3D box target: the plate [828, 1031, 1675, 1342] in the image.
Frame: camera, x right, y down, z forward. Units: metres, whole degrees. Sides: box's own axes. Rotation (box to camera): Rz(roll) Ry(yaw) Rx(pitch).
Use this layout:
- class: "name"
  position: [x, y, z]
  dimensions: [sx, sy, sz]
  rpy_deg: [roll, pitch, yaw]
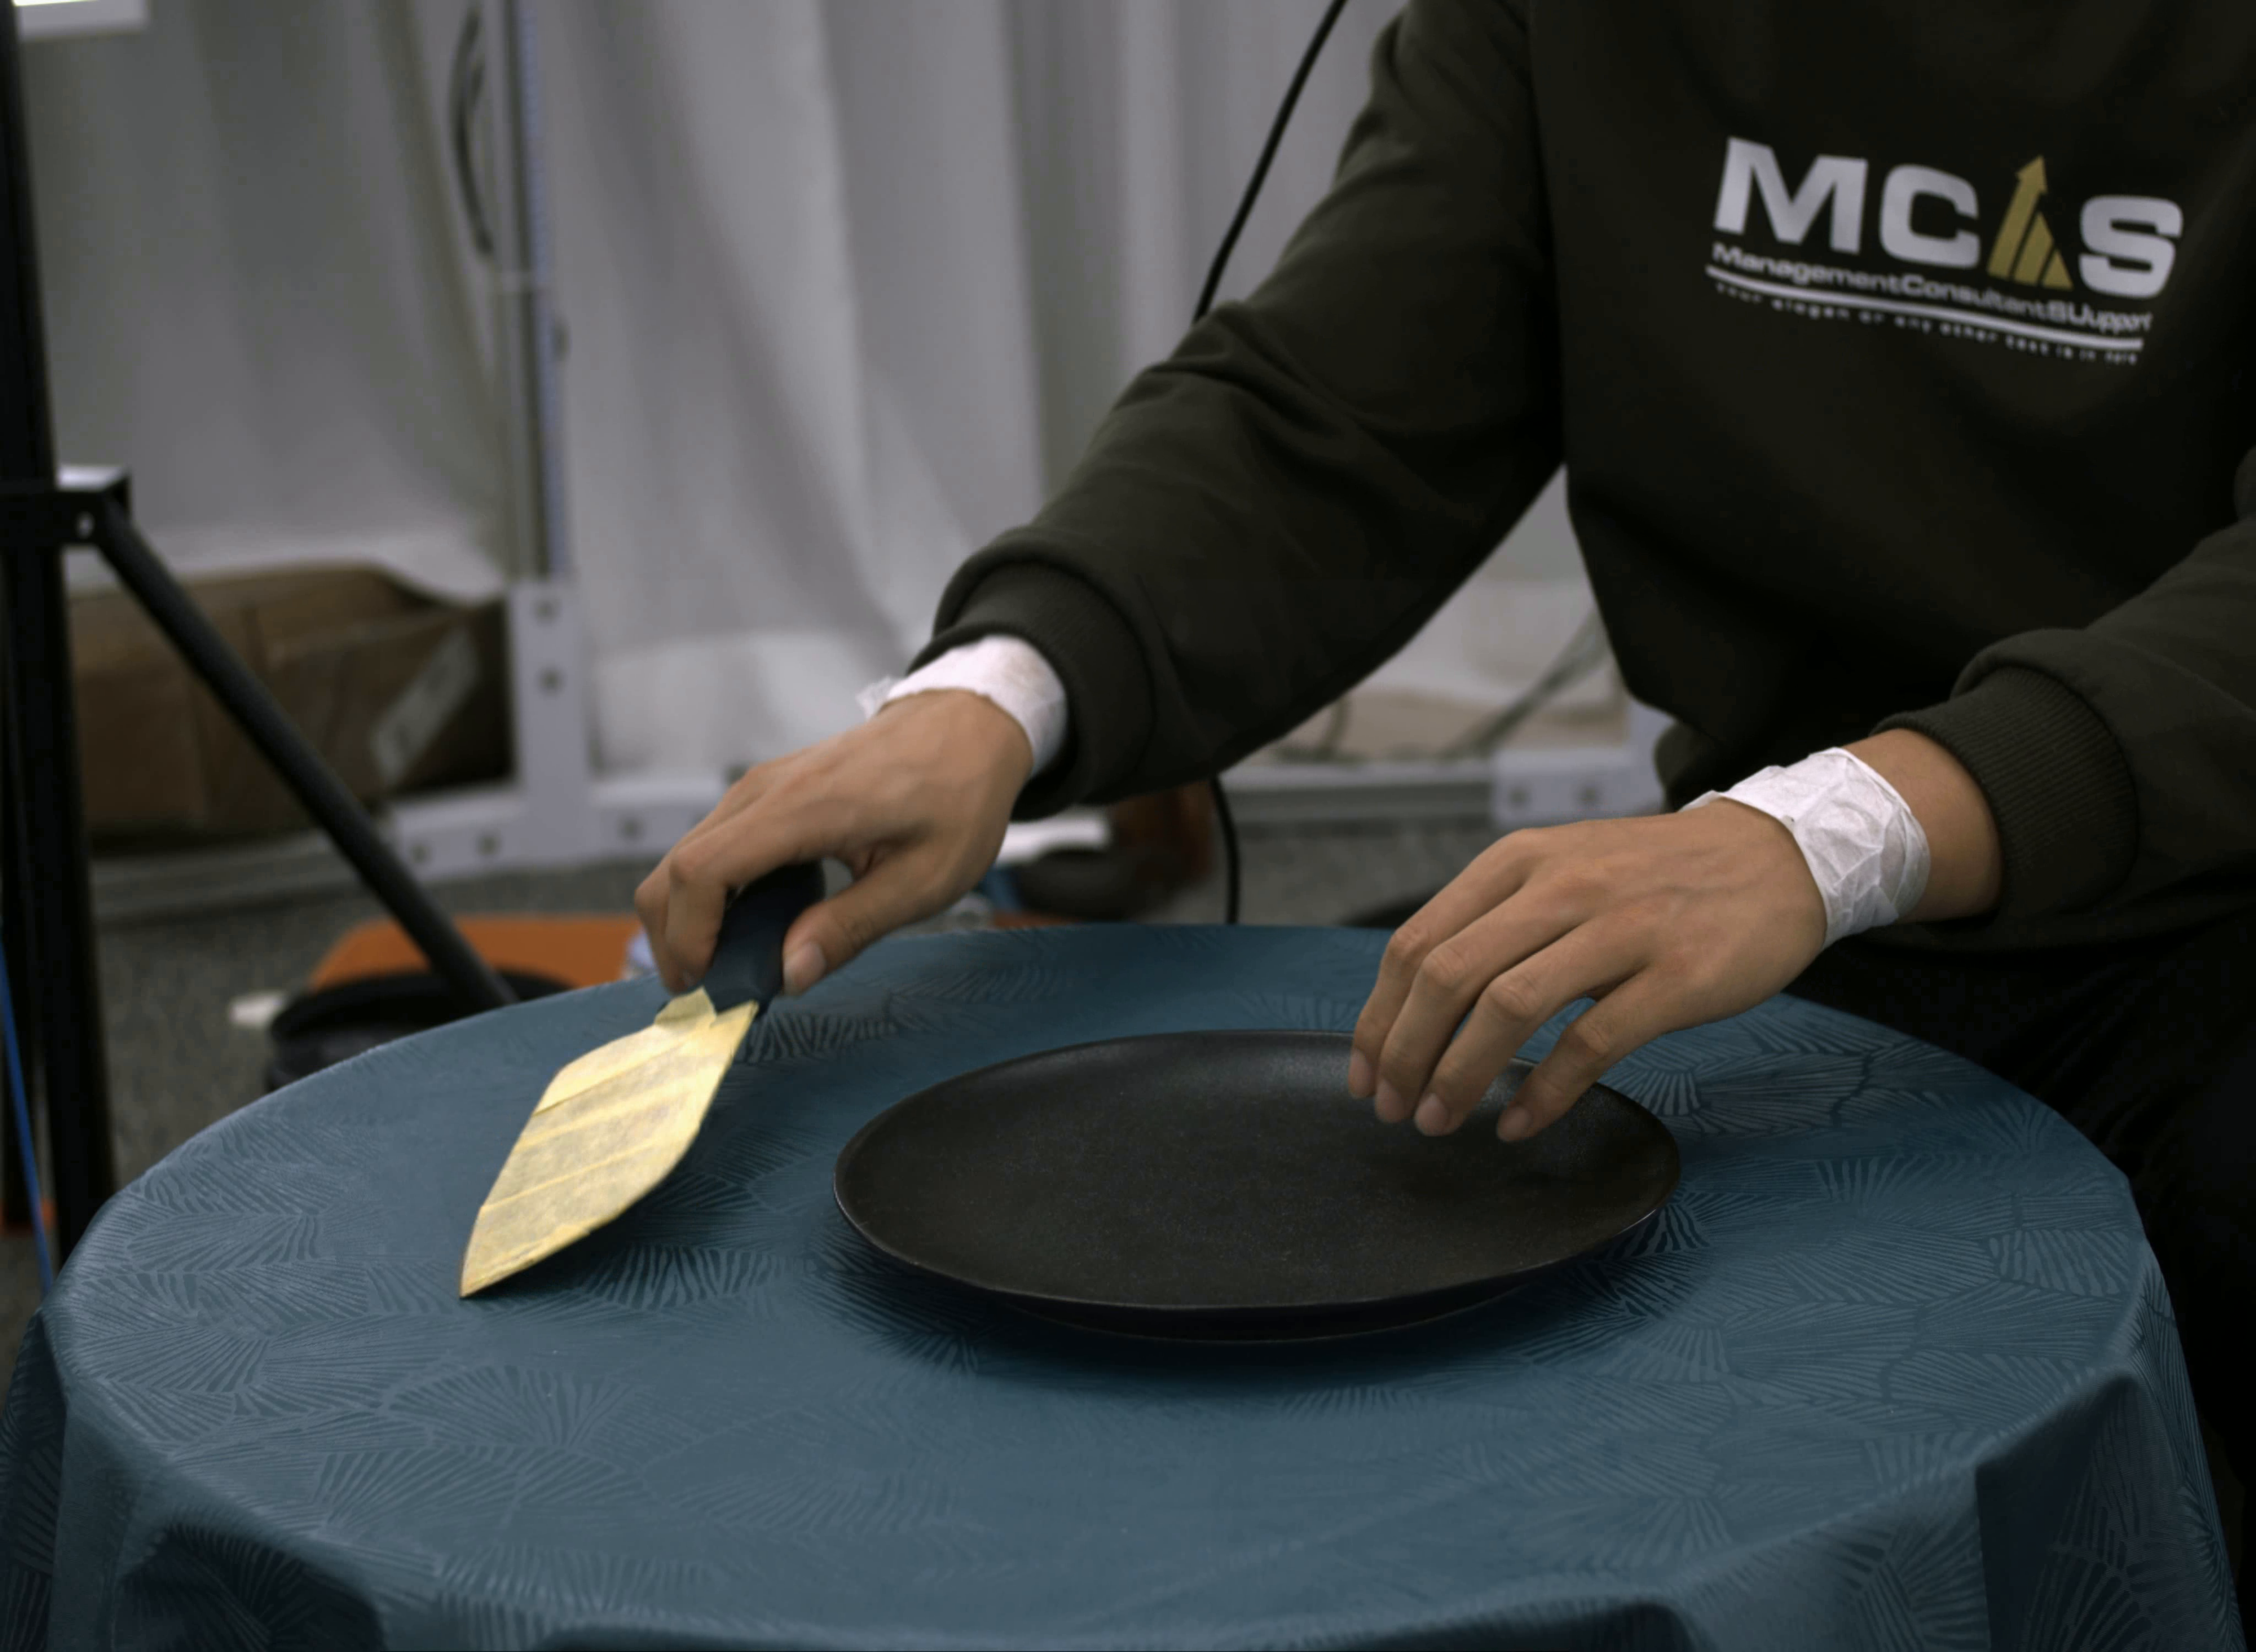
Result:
- class: "plate"
  position: [0.036, 0.106, 1.522]
  dimensions: [0.243, 0.023, 0.245]
  rpy_deg: [-3, 16, -1]

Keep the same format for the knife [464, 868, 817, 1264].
- class: "knife"
  position: [-0.145, 0.073, 1.630]
  dimensions: [0.081, 0.027, 0.288]
  rpy_deg: [-16, 16, 16]
